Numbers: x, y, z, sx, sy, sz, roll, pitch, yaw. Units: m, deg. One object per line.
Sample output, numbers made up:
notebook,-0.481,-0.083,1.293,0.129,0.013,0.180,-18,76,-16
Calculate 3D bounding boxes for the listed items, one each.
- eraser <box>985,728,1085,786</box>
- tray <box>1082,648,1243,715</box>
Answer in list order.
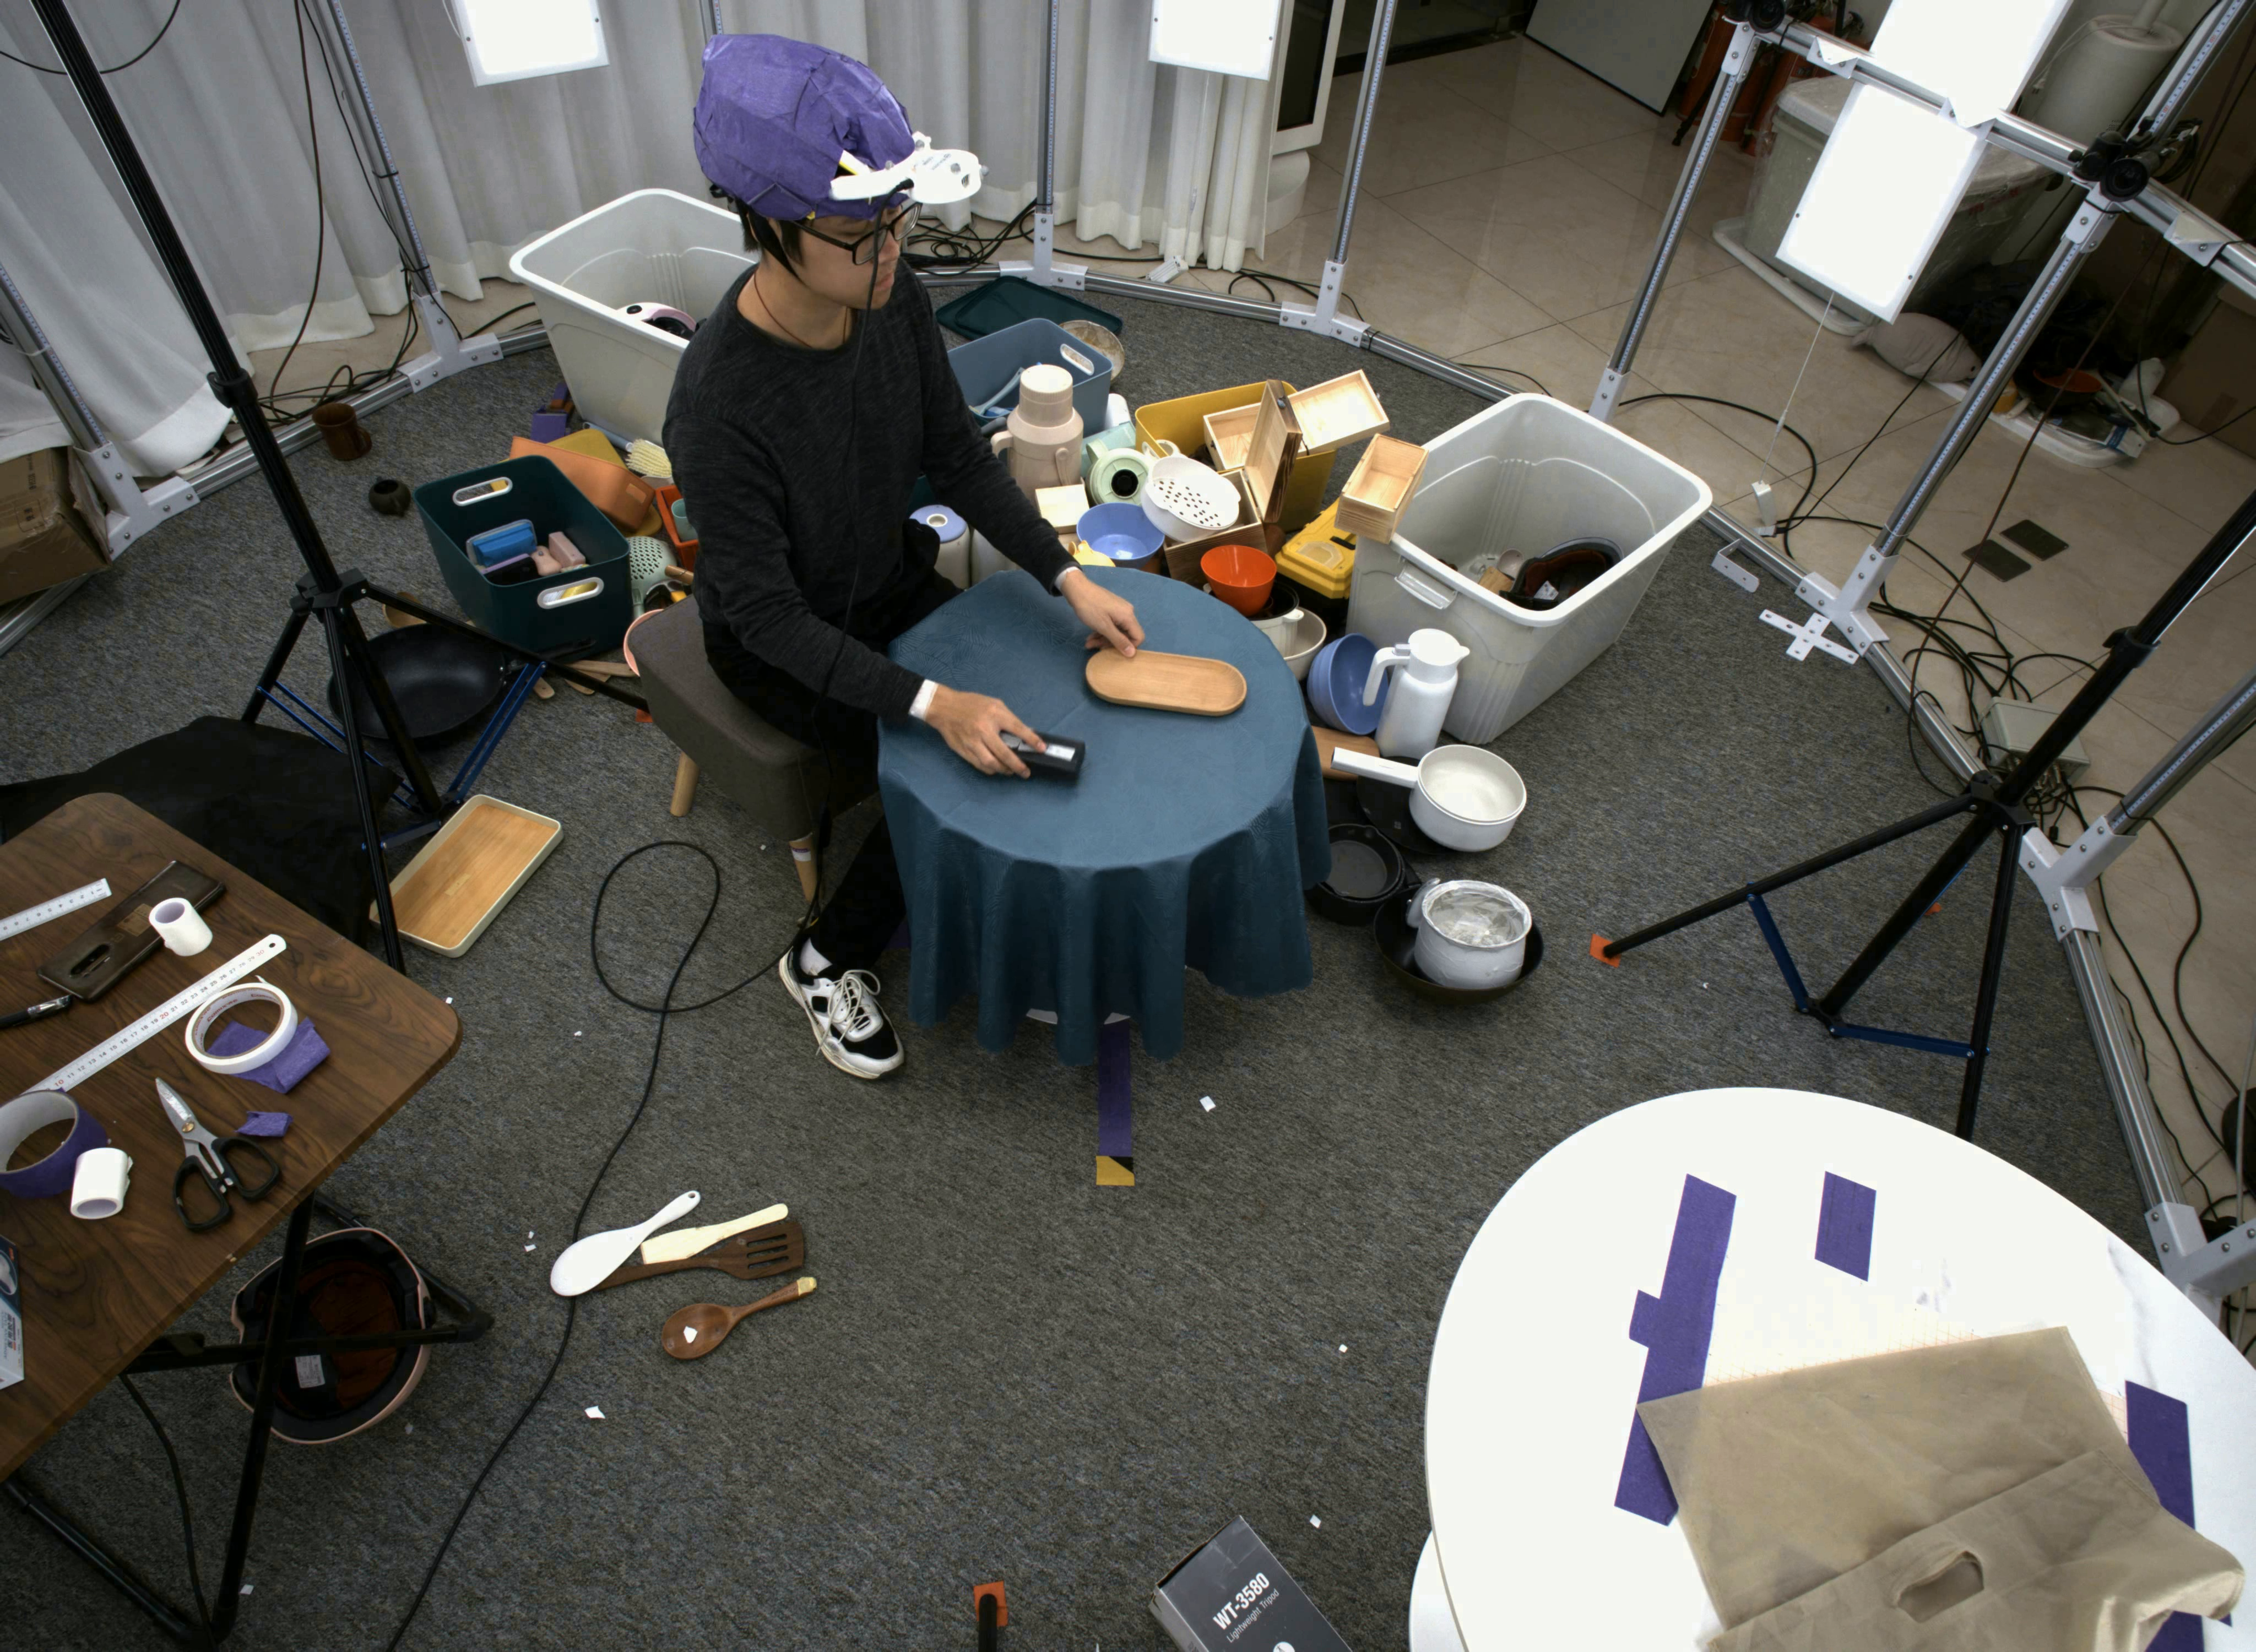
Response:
eraser,-0.123,-0.092,1.710,0.126,0.030,0.054,13,56,8
tray,0.049,-0.206,1.837,0.231,0.020,0.104,6,50,1
